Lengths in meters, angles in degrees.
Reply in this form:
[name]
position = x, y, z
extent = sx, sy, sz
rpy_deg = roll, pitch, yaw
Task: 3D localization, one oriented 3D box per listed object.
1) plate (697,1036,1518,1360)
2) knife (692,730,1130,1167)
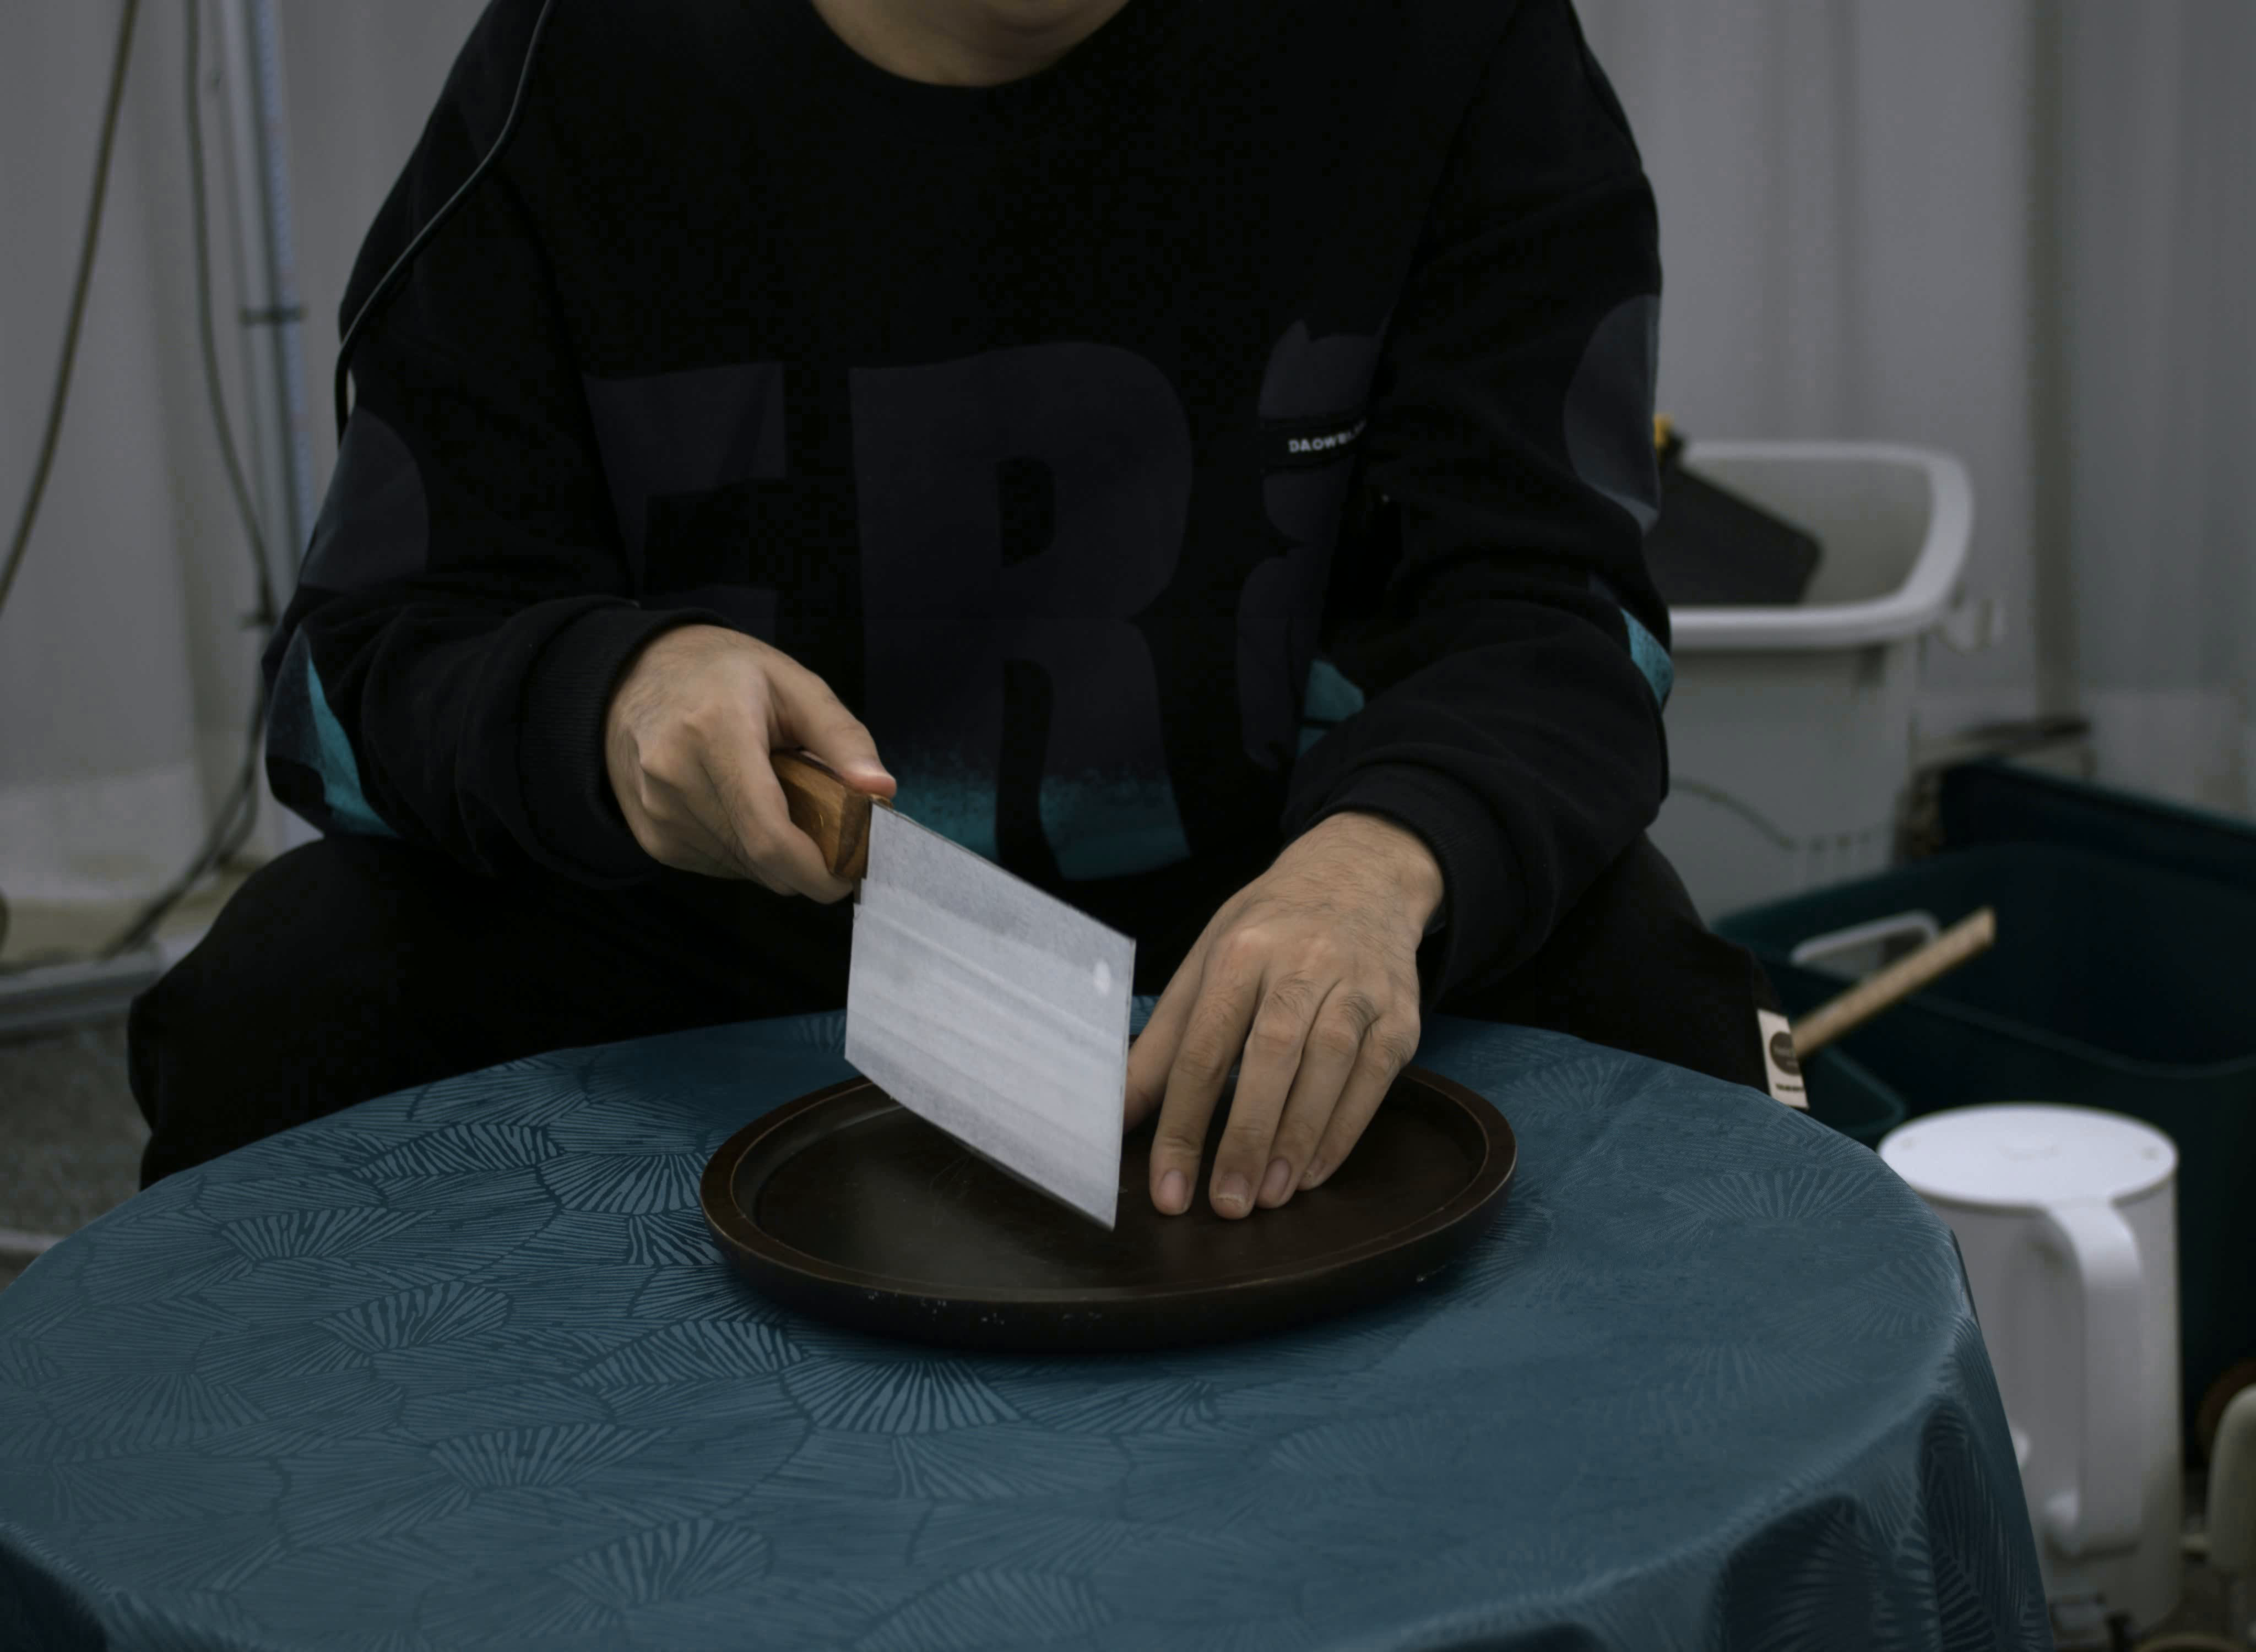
[plate]
position = -0.006, 0.111, 1.680
extent = 0.254, 0.029, 0.256
rpy_deg = -4, 16, 1
[knife]
position = -0.071, 0.038, 1.725
extent = 0.021, 0.092, 0.308
rpy_deg = -3, 14, -27
